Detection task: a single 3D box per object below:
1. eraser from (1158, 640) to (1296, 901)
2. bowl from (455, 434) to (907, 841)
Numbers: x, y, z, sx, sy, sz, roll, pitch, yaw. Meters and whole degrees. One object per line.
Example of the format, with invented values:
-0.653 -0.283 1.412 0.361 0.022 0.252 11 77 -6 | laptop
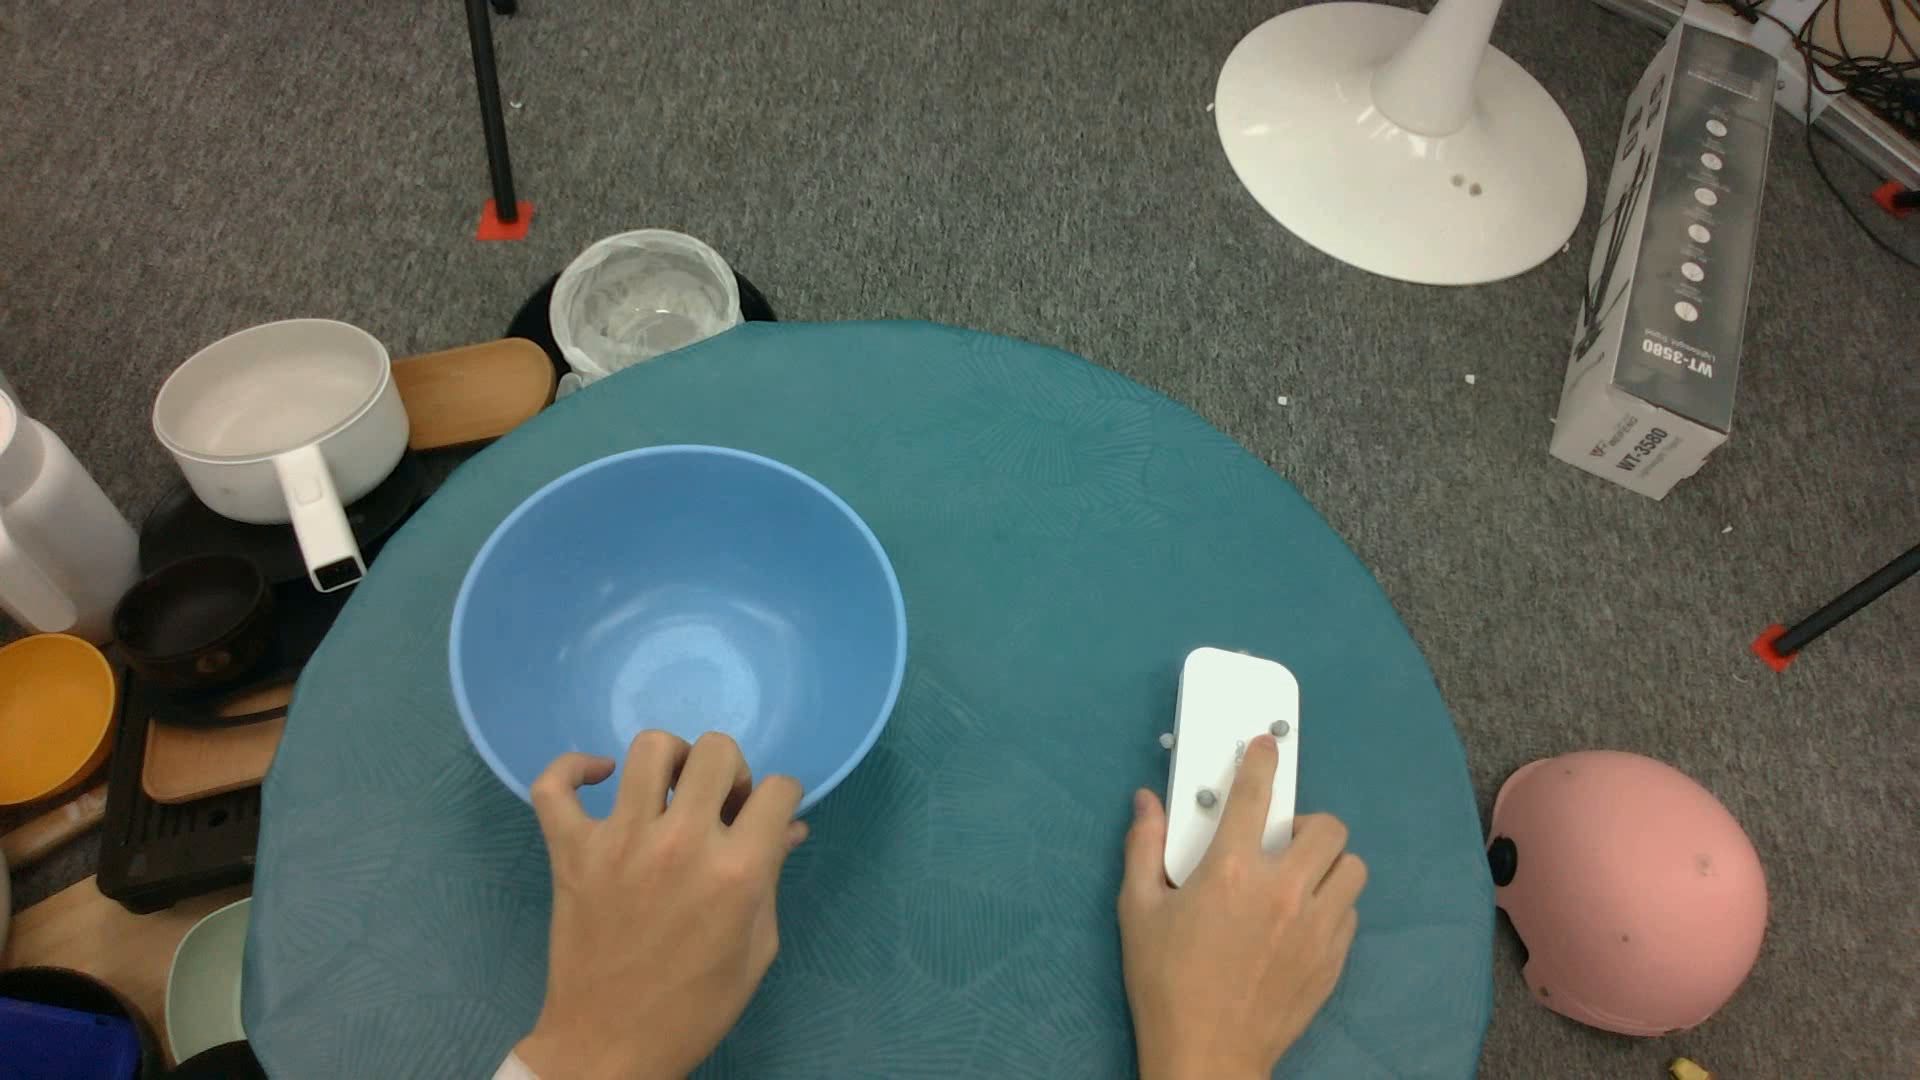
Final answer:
0.134 0.114 0.694 0.063 0.034 0.132 13 59 -1 | eraser
-0.128 0.057 0.649 0.196 0.095 0.197 5 59 -8 | bowl
